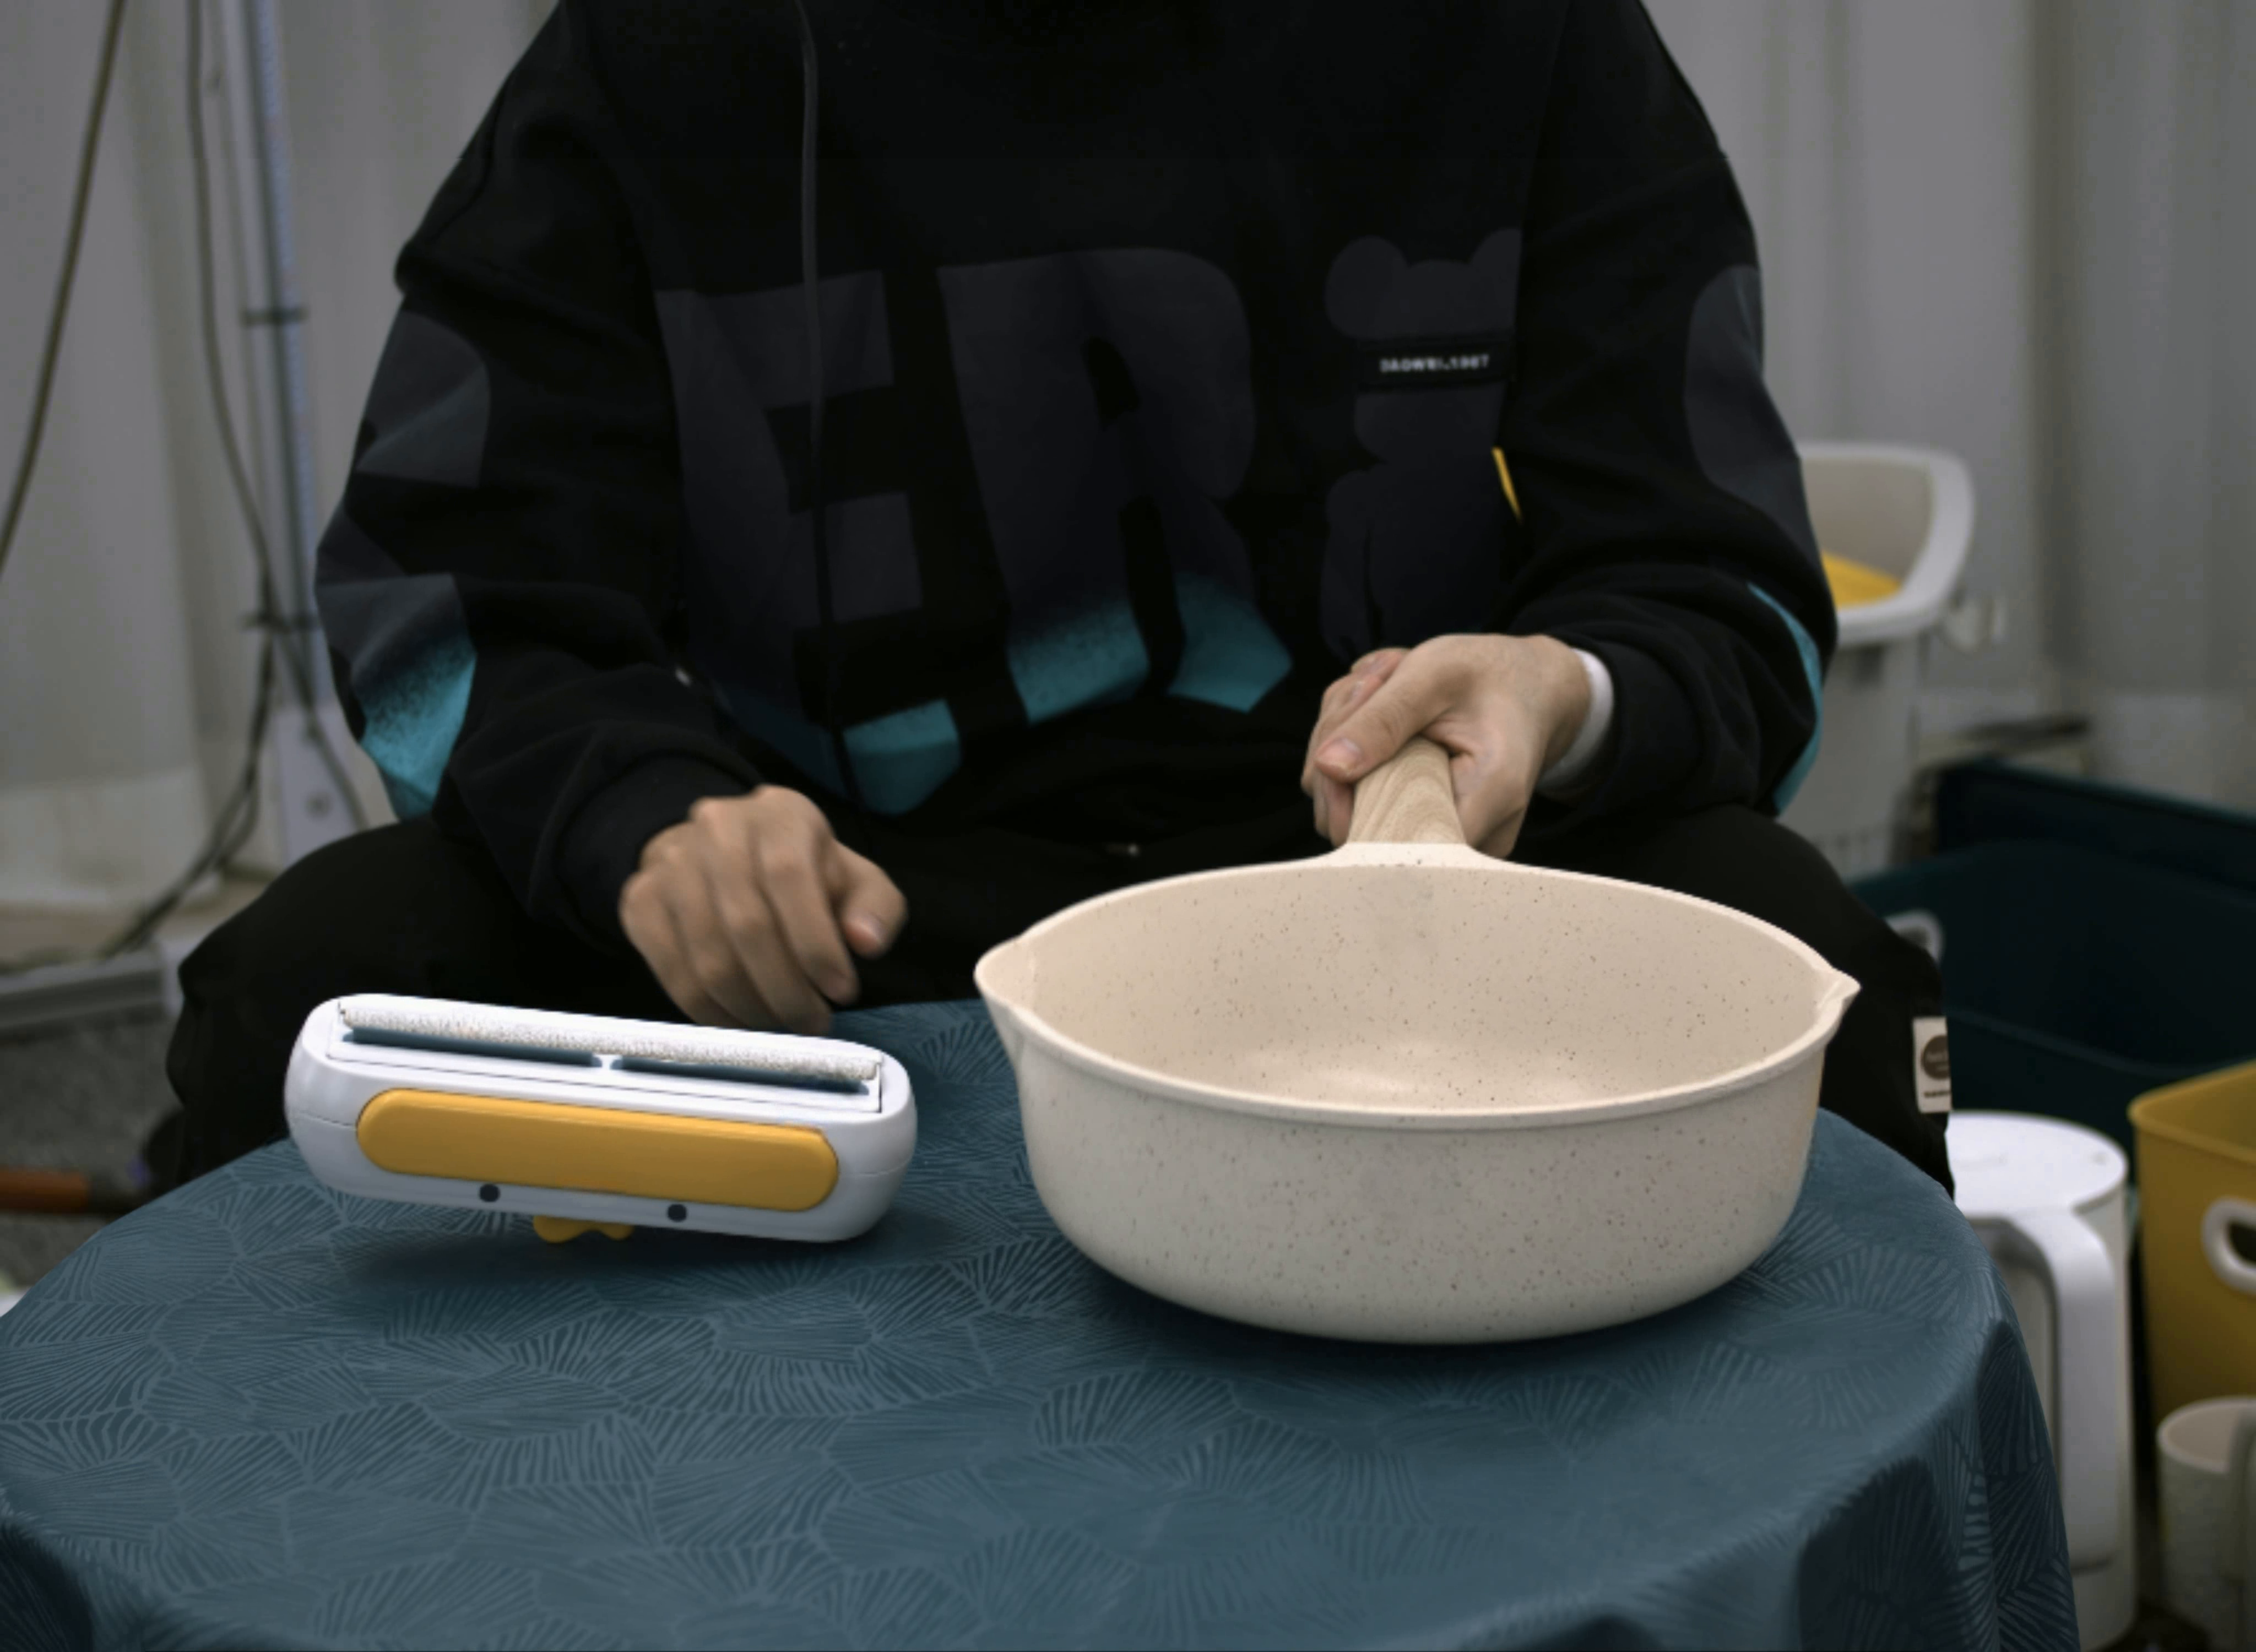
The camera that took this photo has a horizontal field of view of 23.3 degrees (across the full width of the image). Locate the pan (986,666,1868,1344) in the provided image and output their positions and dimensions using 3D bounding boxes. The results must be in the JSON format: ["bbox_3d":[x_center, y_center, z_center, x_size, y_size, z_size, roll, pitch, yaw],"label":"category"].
[{"bbox_3d":[0.091,0.051,1.720,0.262,0.101,0.438,-2,16,1],"label":"pan"}]

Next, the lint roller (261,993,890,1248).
[{"bbox_3d":[-0.169,0.083,1.738,0.192,0.074,0.193,2,13,0],"label":"lint roller"}]
